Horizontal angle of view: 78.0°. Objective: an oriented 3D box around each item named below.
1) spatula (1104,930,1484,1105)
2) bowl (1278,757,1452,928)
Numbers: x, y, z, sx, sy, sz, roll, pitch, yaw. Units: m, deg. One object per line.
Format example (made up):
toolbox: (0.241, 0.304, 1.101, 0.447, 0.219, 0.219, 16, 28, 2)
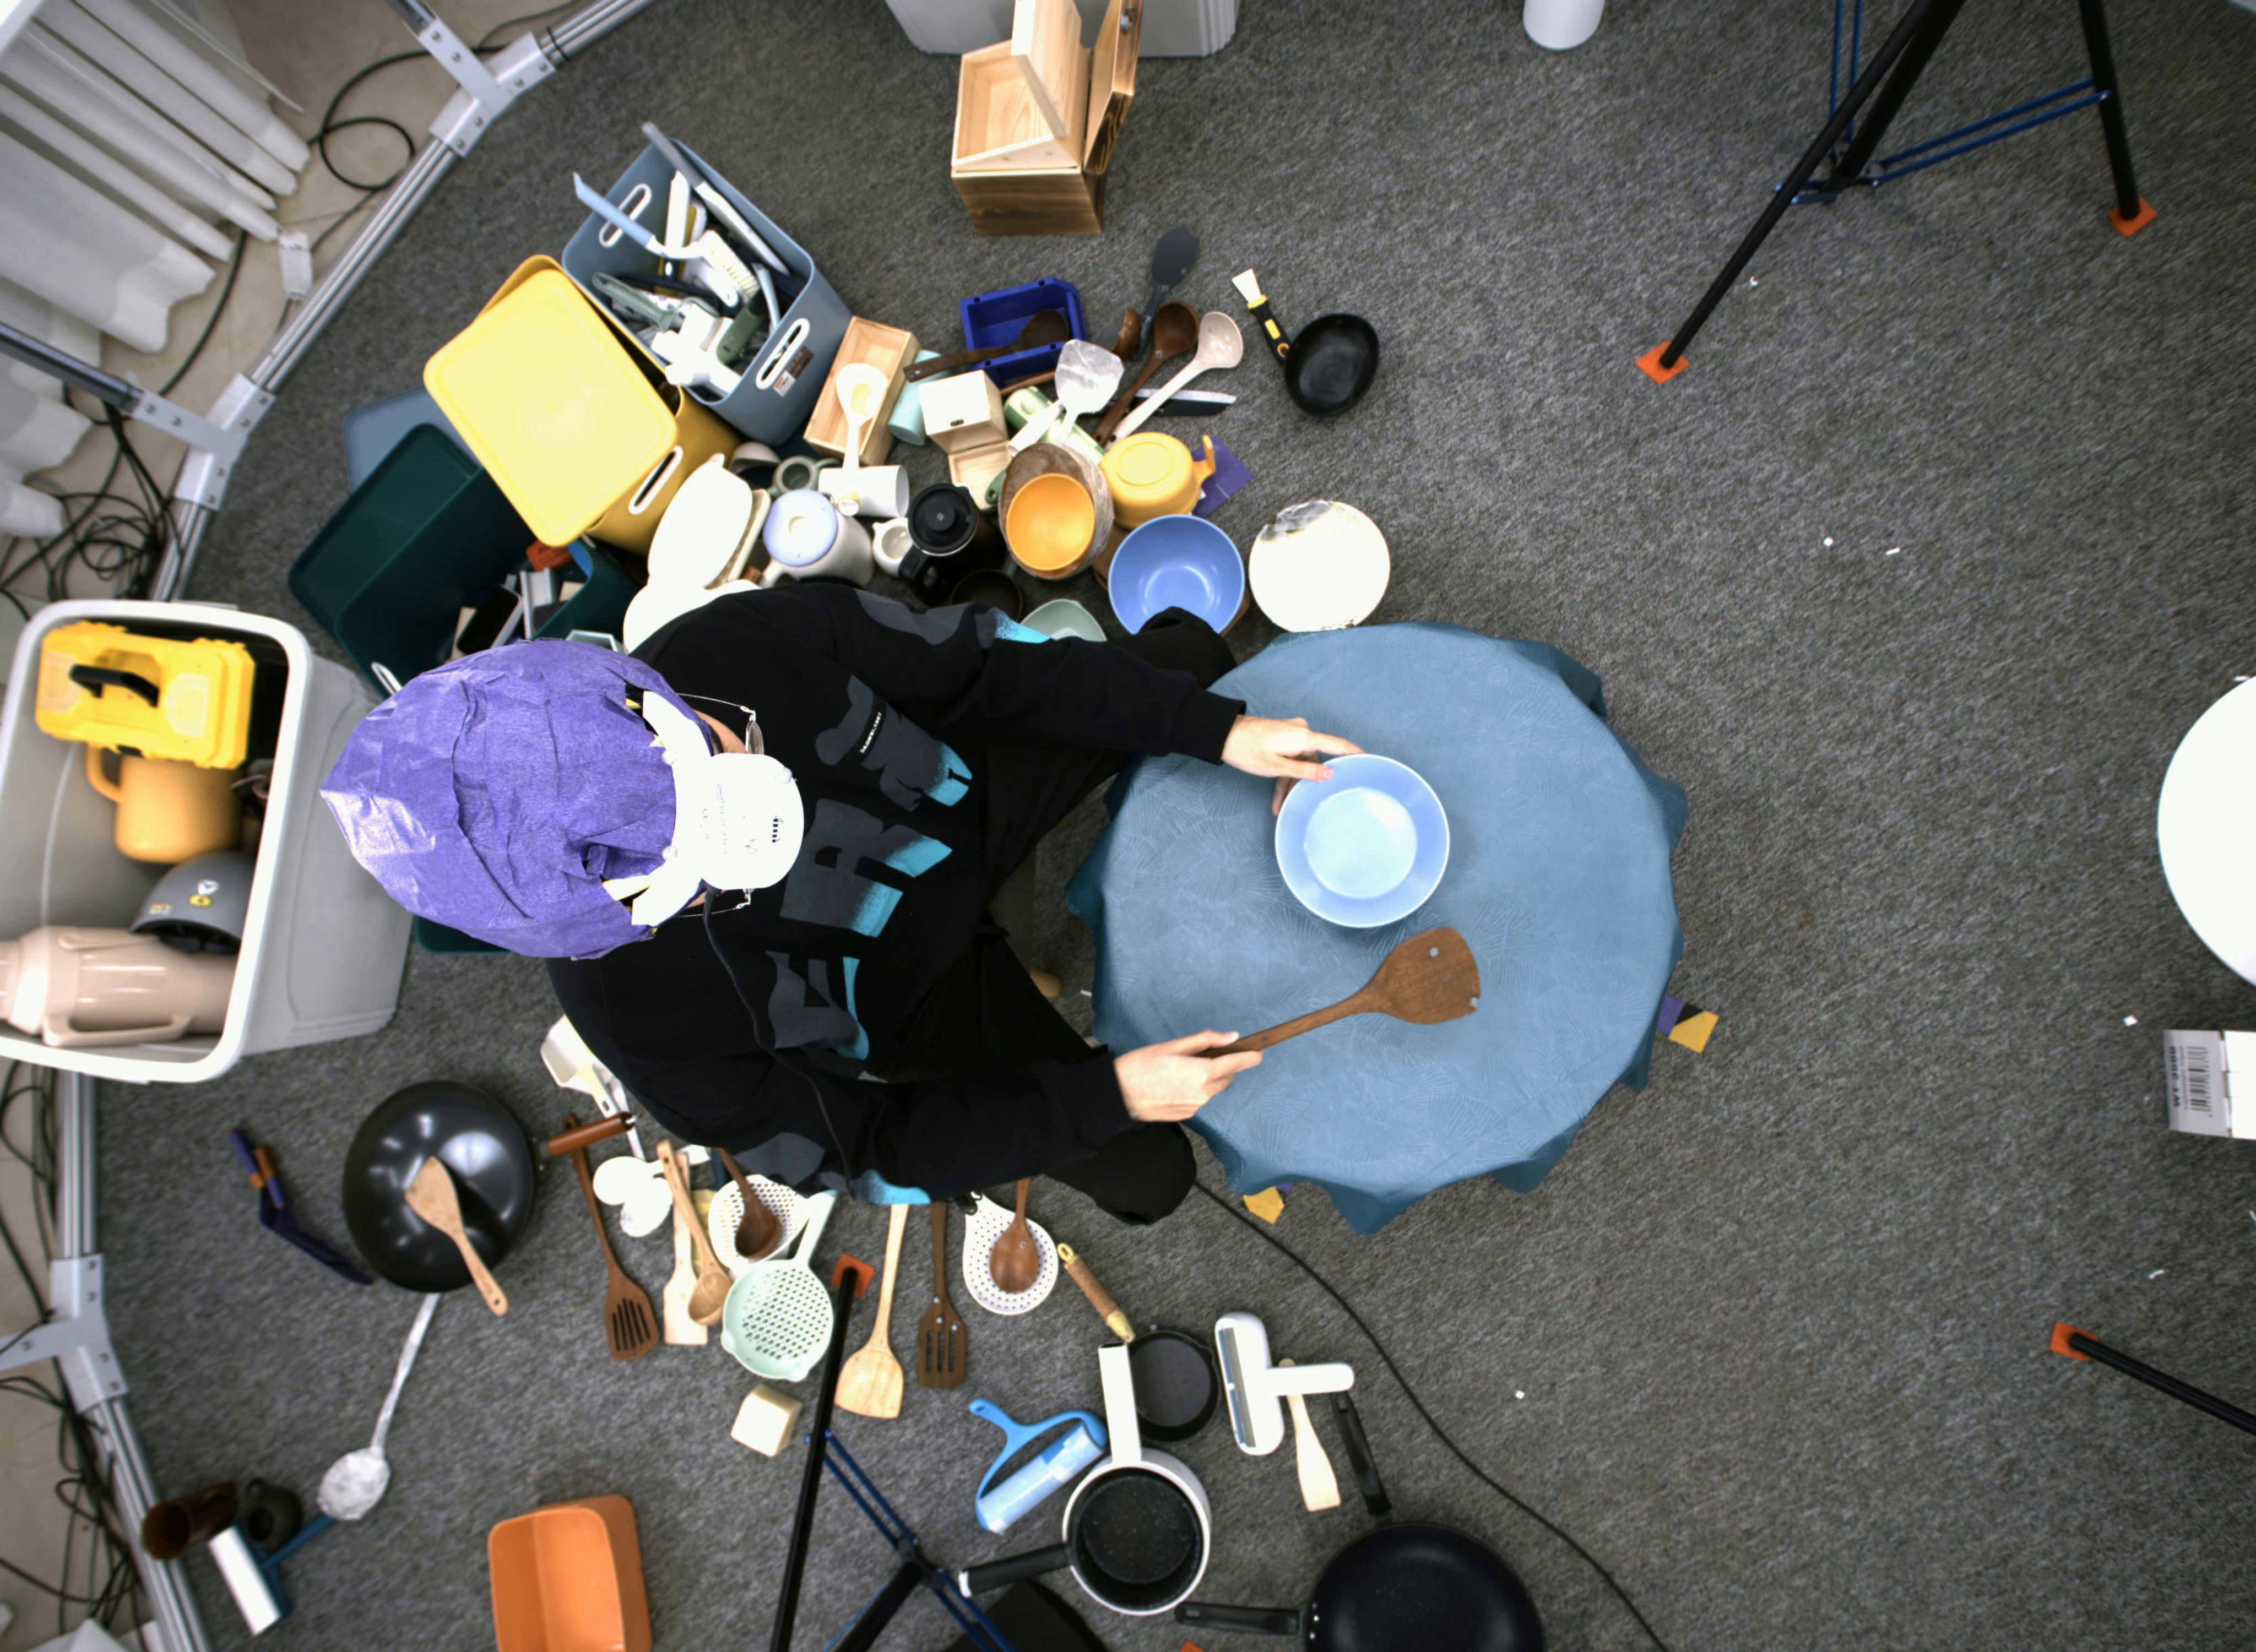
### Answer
spatula: (0.159, 0.200, 1.352, 0.387, 0.015, 0.097, -20, 103, 3)
bowl: (0.246, 0.018, 1.435, 0.177, 0.070, 0.175, -1, 88, 11)
